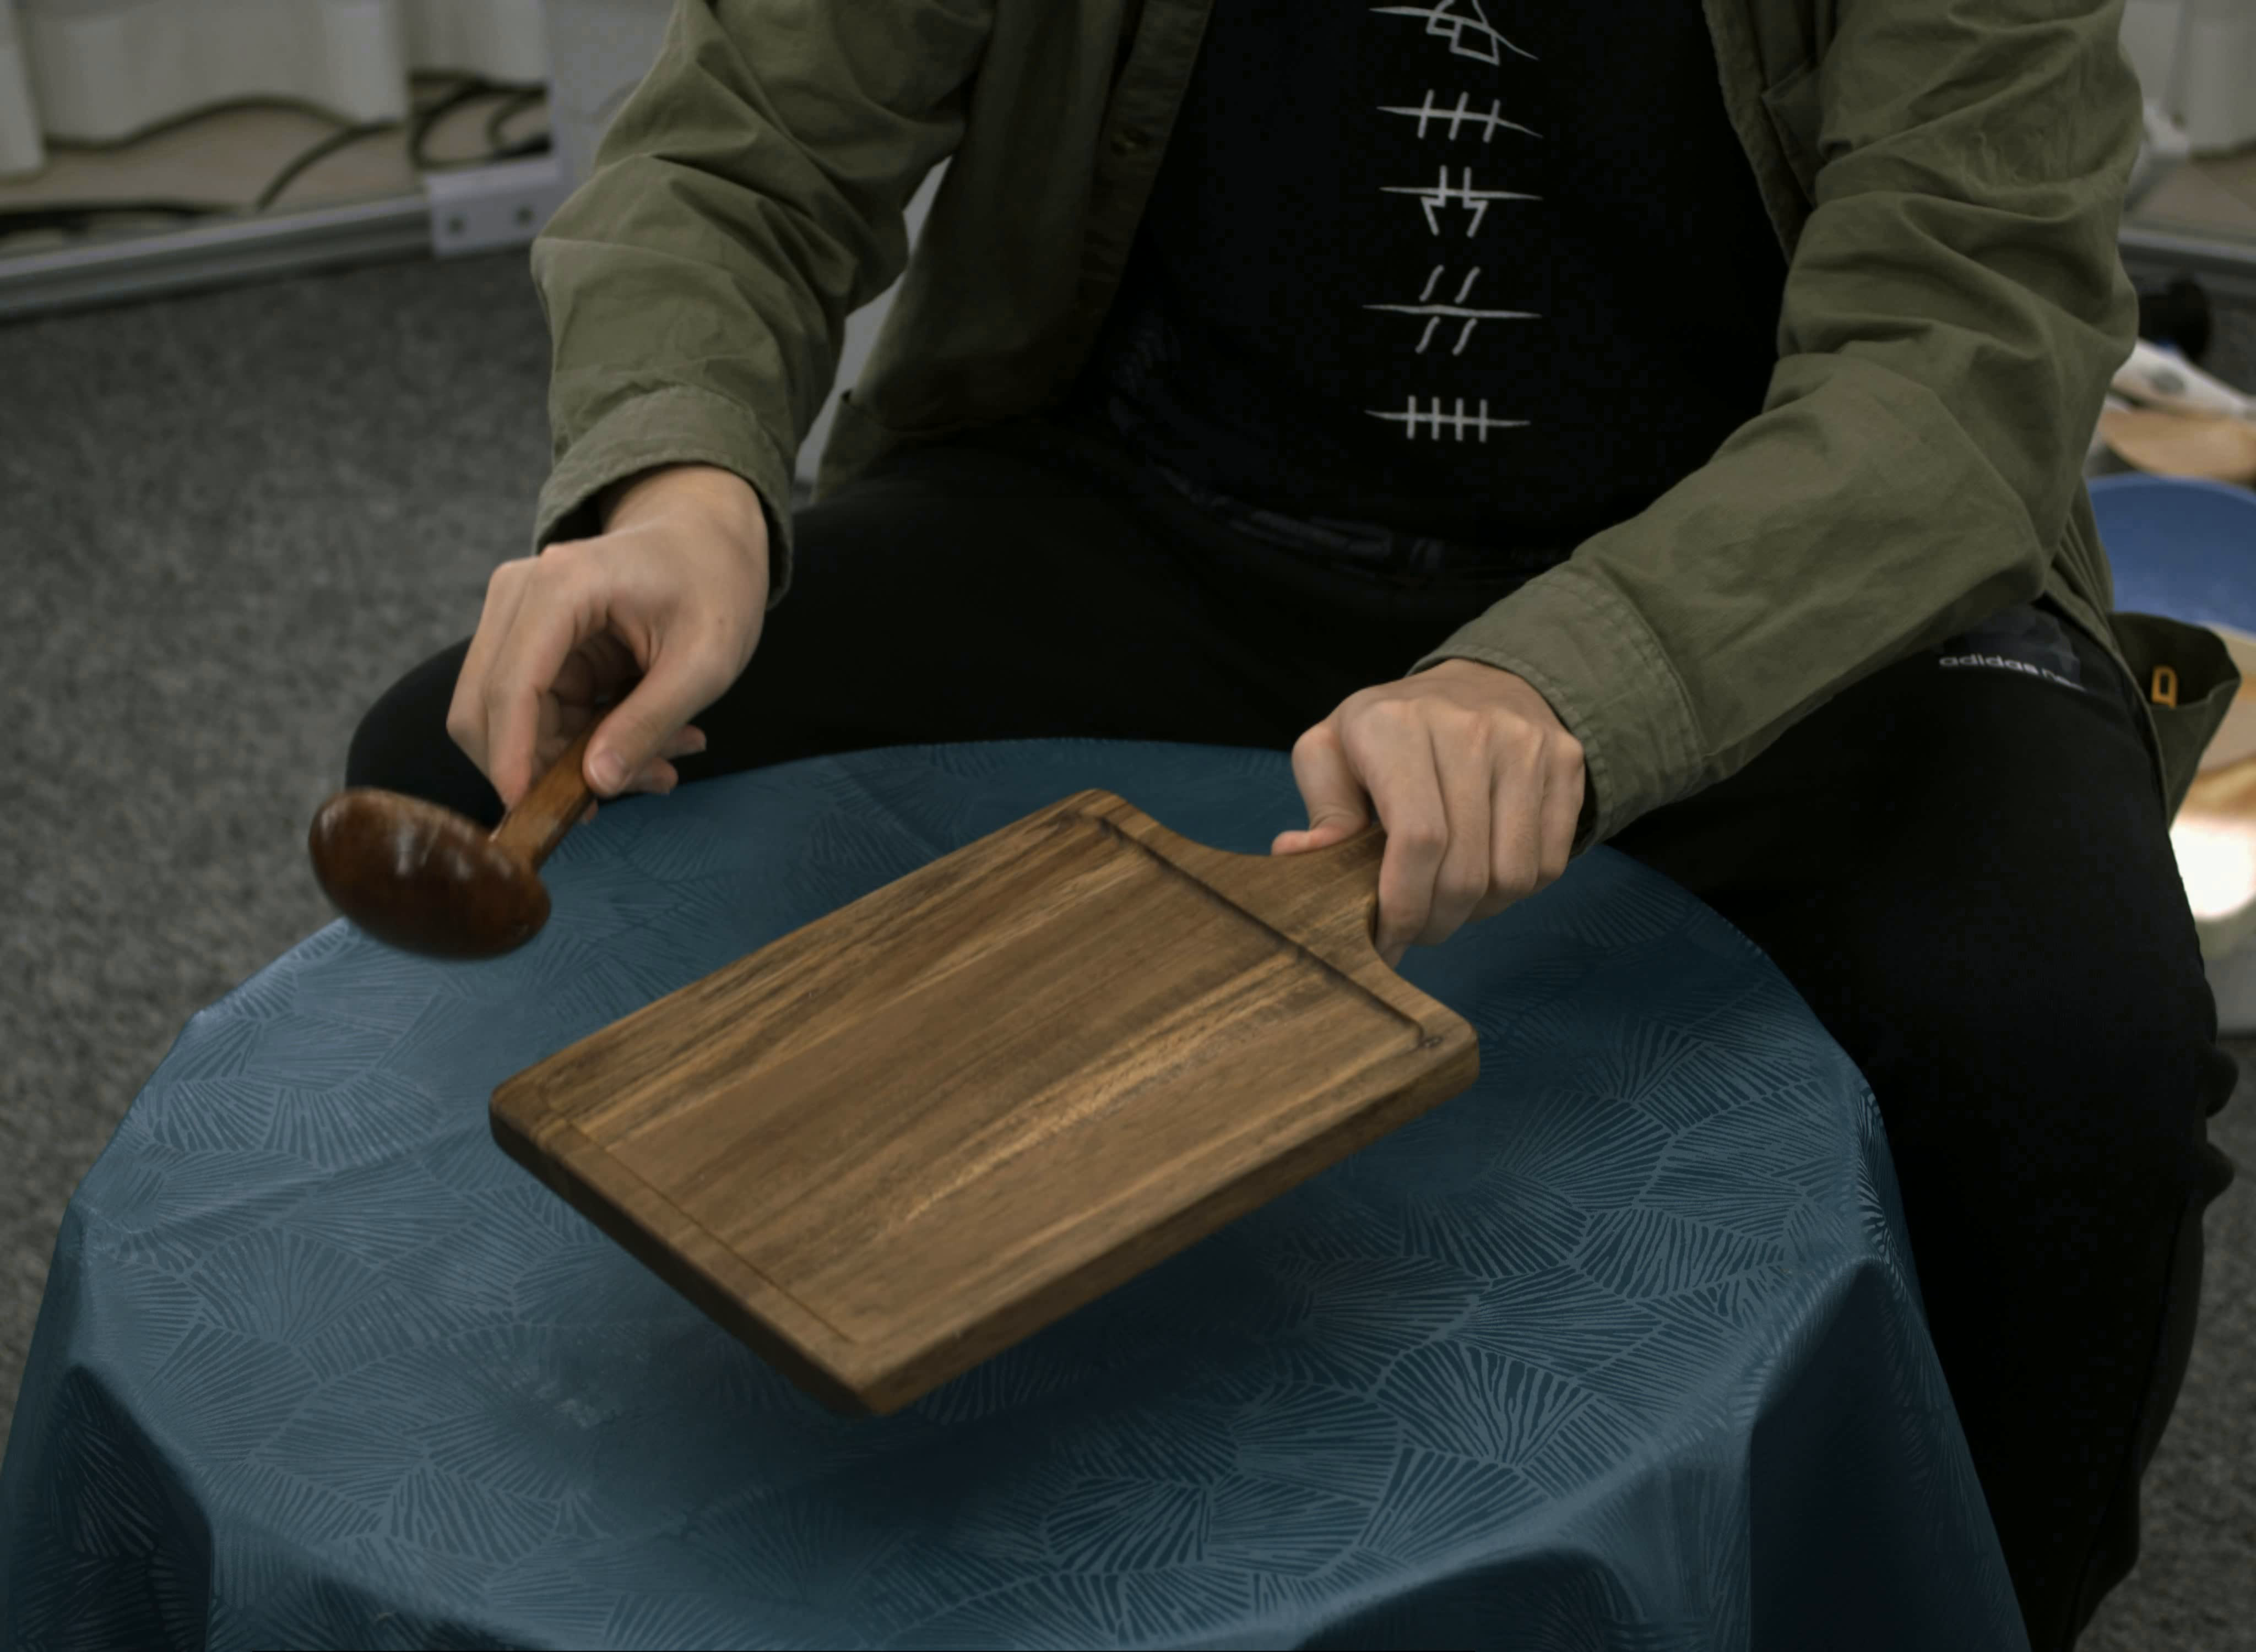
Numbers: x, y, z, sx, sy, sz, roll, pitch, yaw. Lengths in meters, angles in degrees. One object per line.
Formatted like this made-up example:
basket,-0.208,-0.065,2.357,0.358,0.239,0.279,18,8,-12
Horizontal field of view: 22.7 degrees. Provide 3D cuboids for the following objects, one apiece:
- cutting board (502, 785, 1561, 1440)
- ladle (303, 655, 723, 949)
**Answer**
cutting board,0.000,0.065,1.759,0.355,0.023,0.201,-26,39,-30
ladle,-0.190,-0.030,1.863,0.081,0.075,0.278,22,28,9
